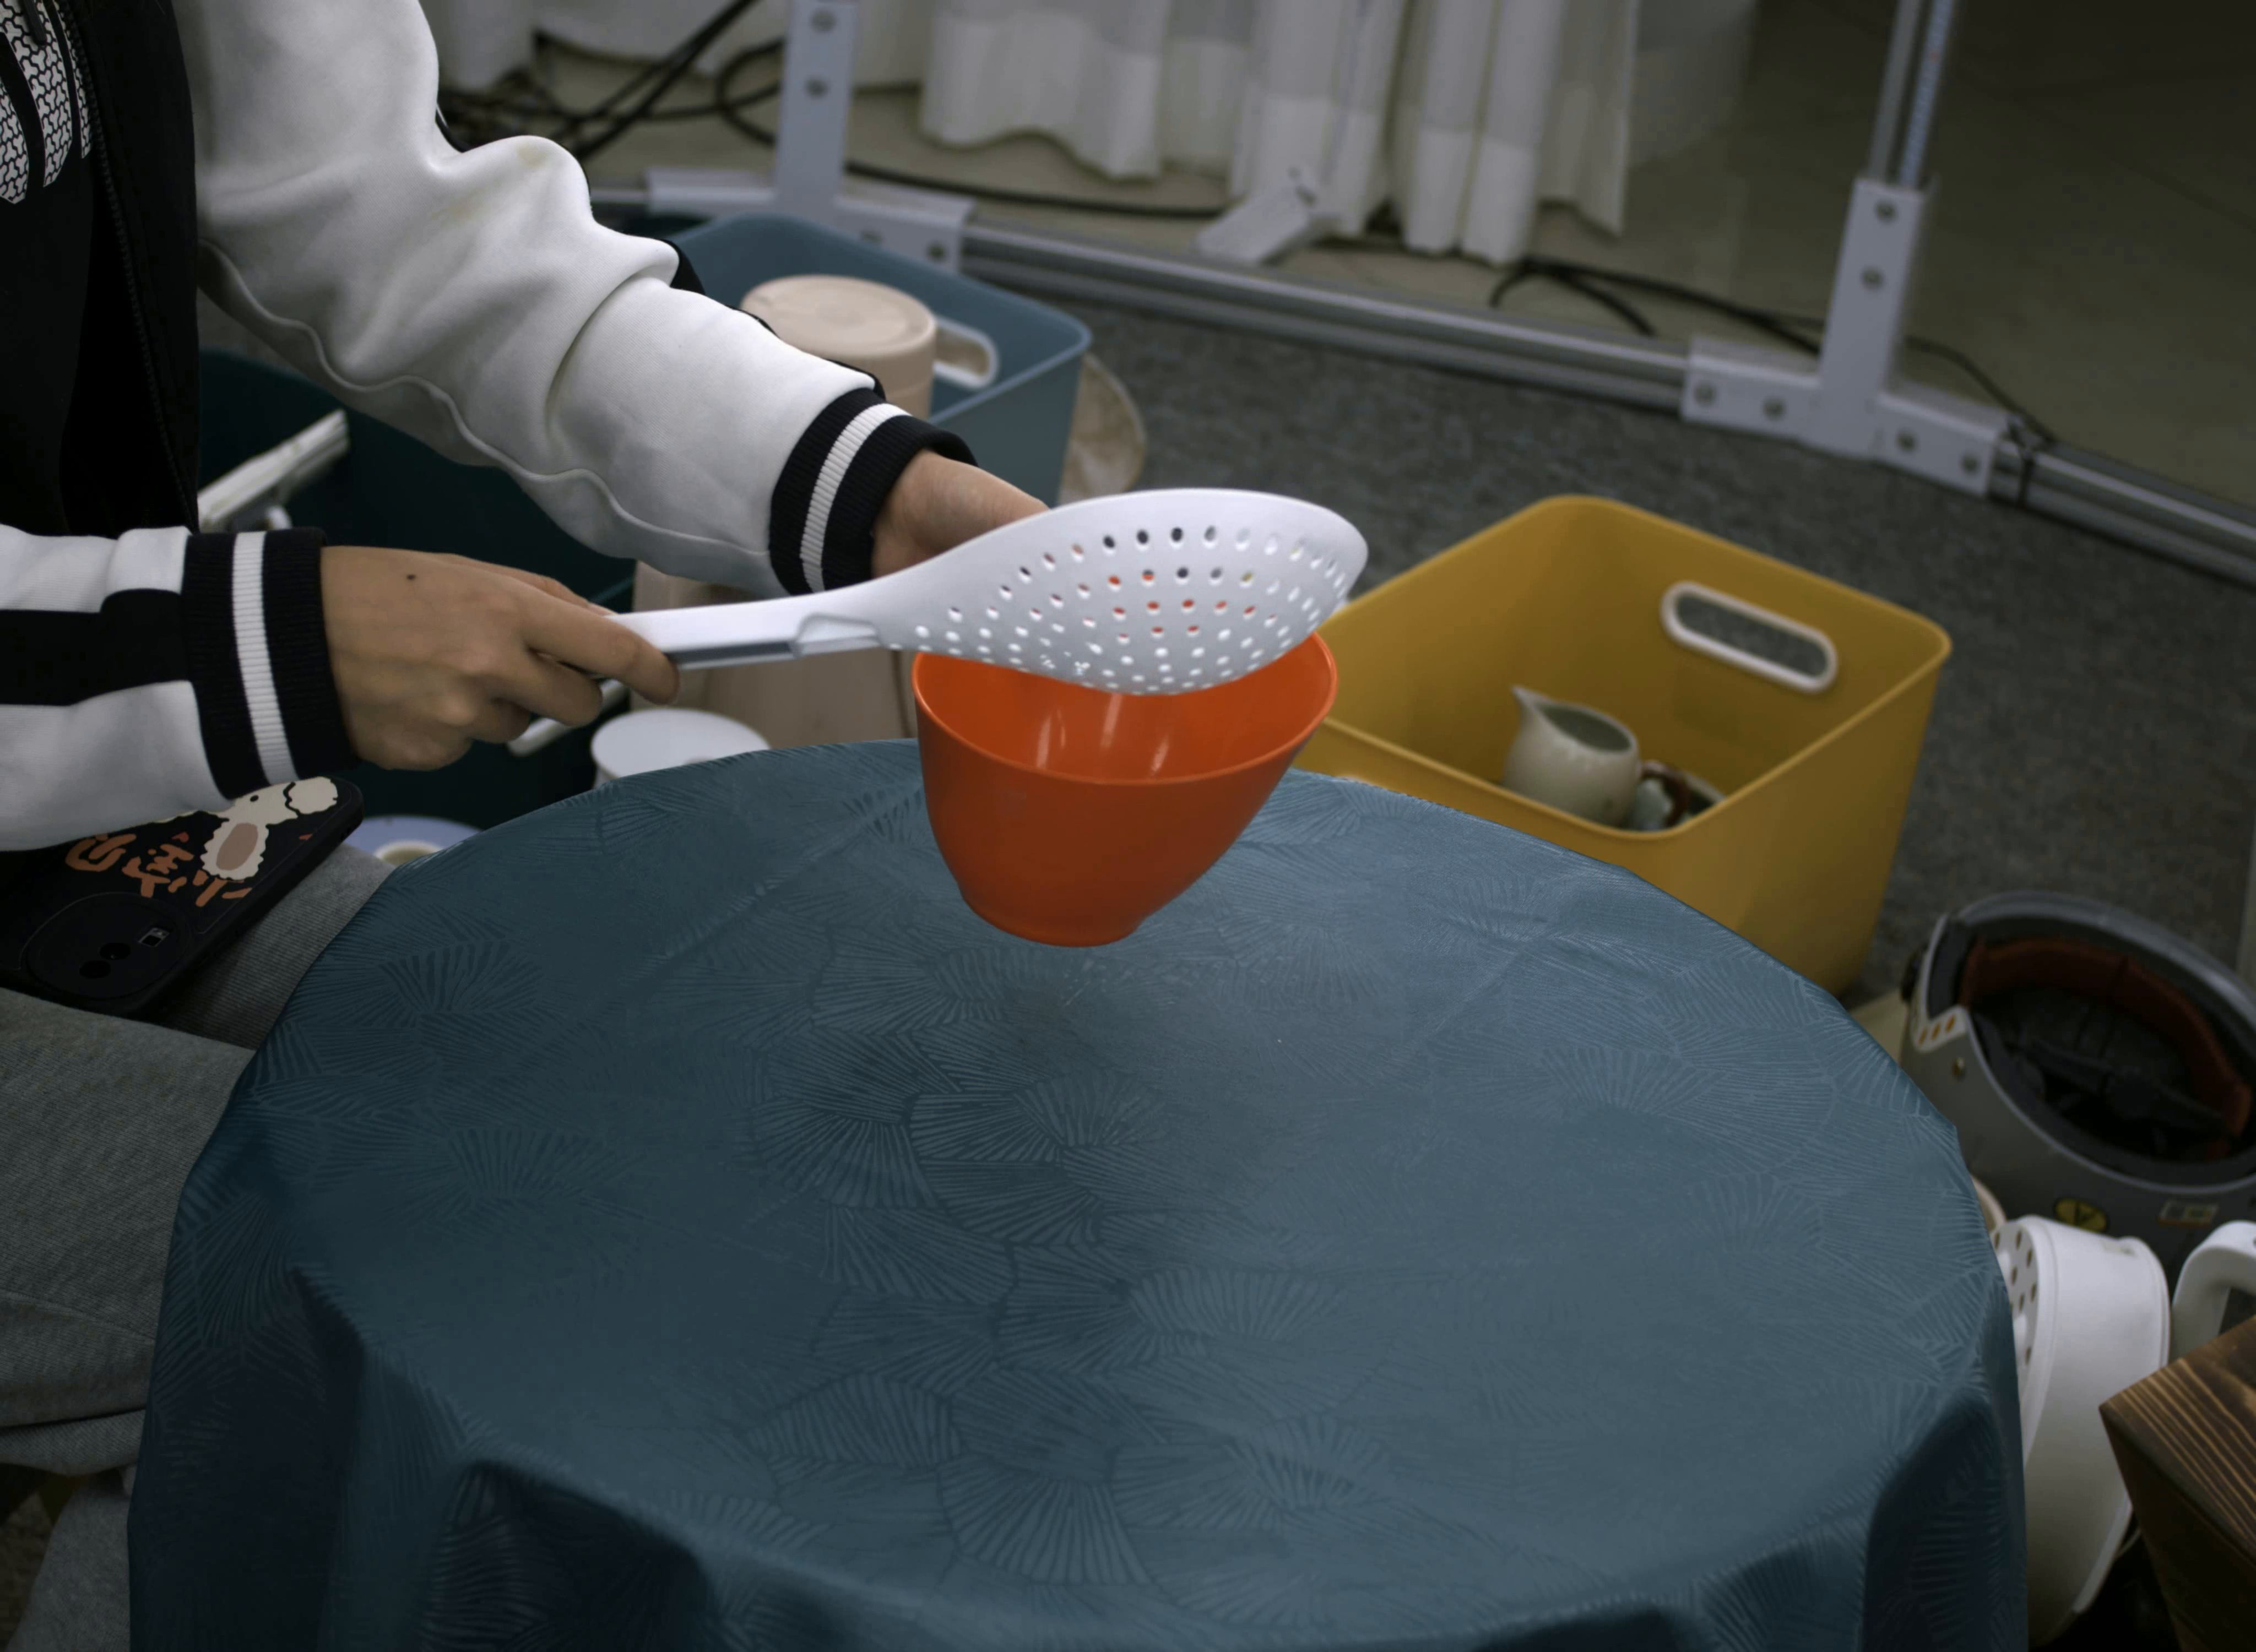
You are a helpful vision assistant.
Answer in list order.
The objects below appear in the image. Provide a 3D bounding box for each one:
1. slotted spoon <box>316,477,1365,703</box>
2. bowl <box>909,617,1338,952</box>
[{"bbox_3d":[-0.096,-0.069,1.754,0.349,0.046,0.135,-2,-19,8],"label":"slotted spoon"},{"bbox_3d":[-0.008,-0.016,1.865,0.147,0.104,0.149,8,29,-5],"label":"bowl"}]
